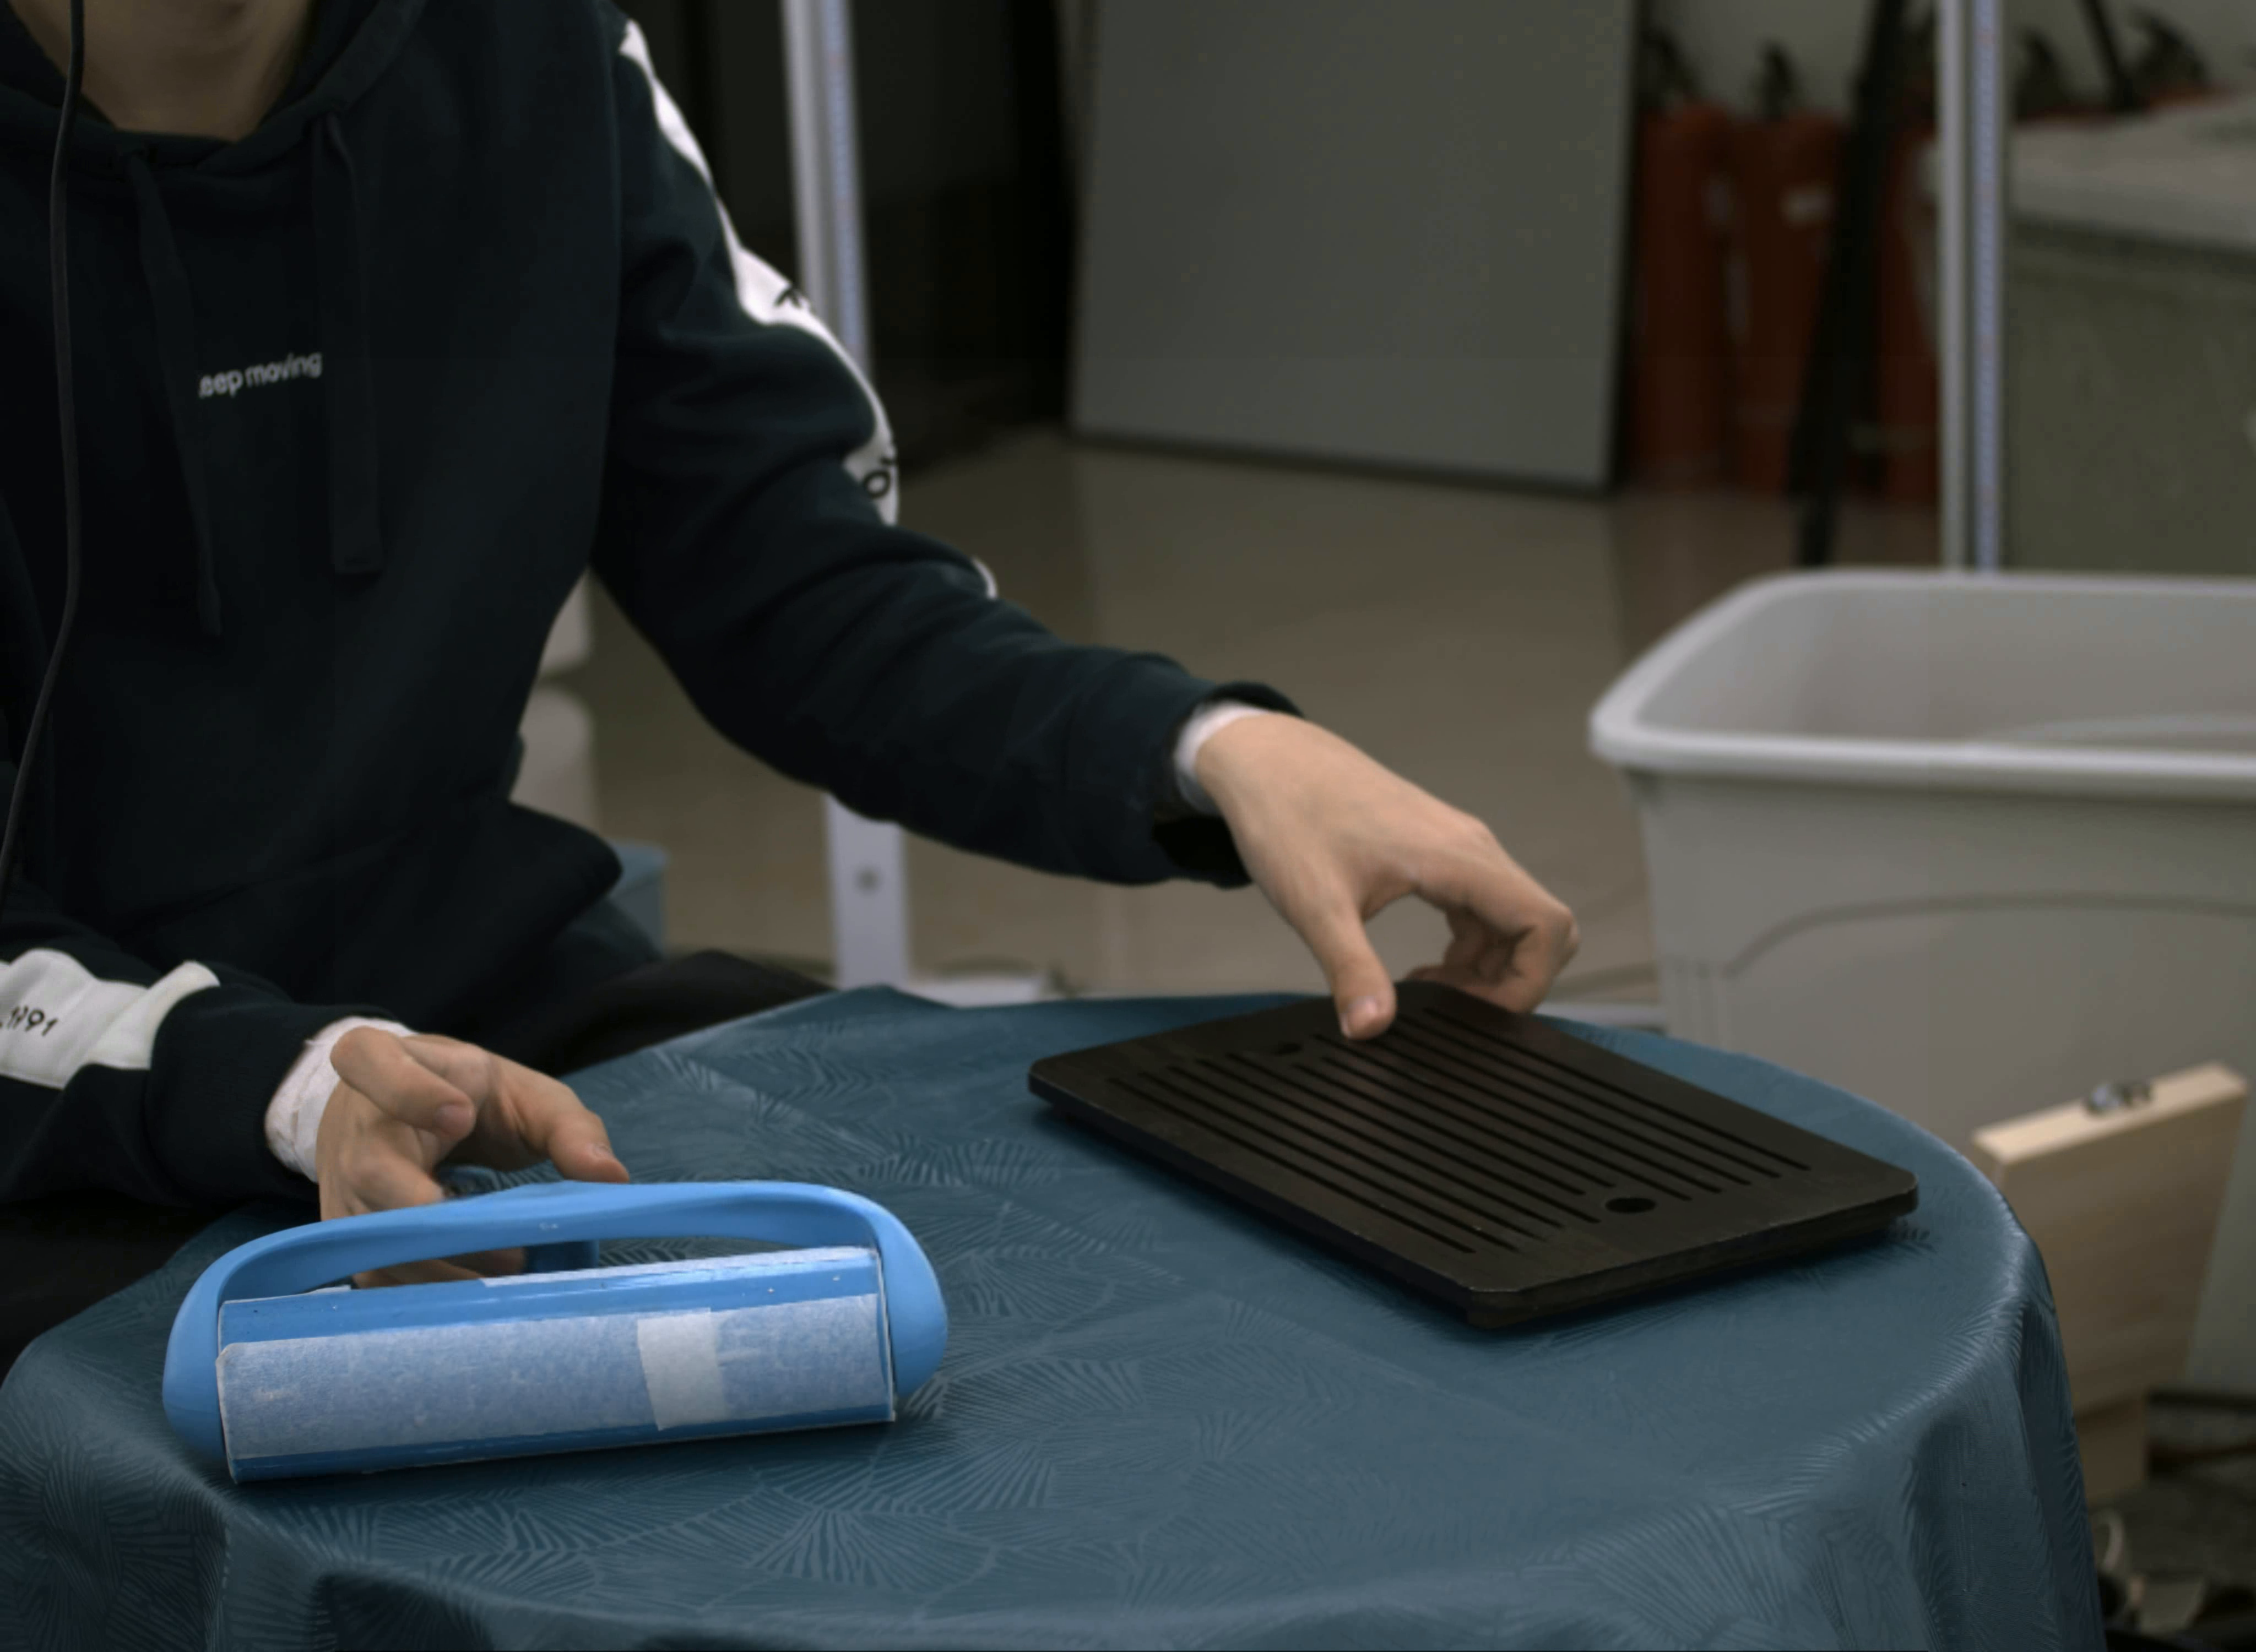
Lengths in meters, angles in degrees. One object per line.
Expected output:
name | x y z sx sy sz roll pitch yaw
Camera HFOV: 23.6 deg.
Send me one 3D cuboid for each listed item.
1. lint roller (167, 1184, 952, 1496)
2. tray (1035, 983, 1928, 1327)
lint roller | -0.173 0.140 1.623 0.225 0.068 0.181 -8 16 -6
tray | 0.109 0.104 1.769 0.166 0.019 0.309 -12 16 -27
